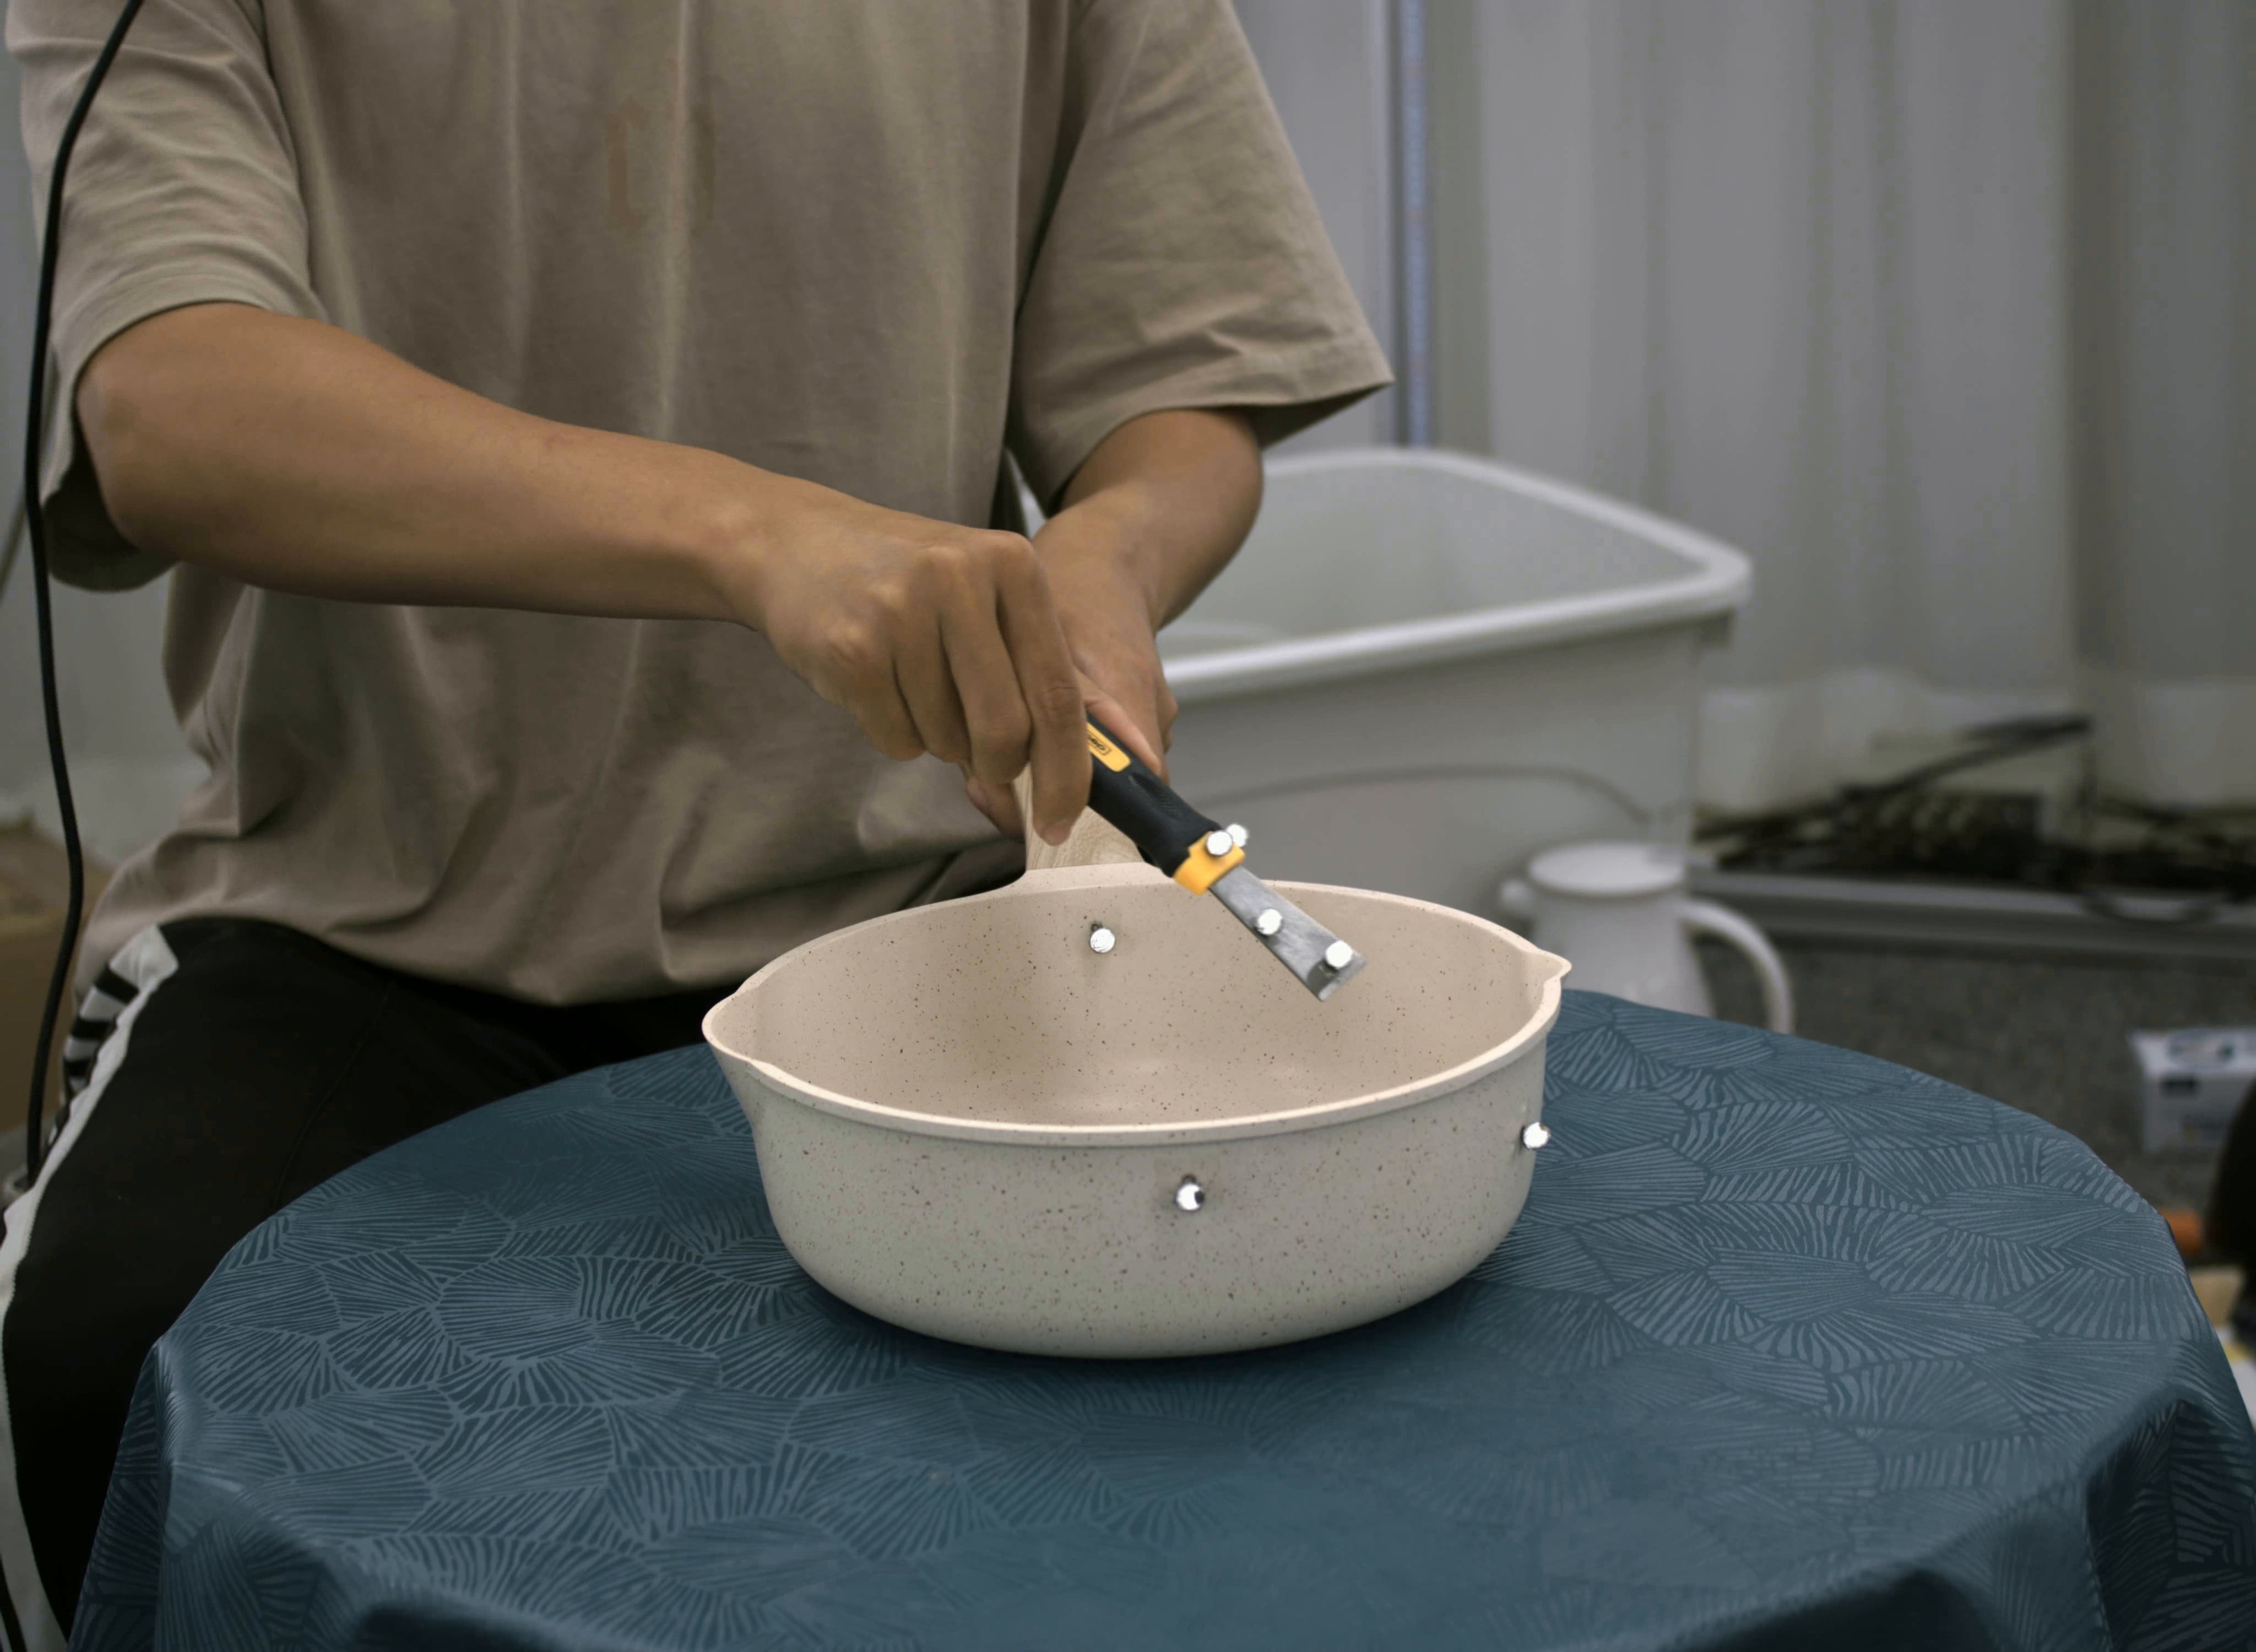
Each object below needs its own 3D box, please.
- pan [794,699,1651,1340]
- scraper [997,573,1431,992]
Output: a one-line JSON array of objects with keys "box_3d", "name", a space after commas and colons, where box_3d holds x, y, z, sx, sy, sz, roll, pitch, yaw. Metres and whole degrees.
[{"box_3d": [0.020, 0.055, 1.740, 0.262, 0.101, 0.438, -7, 15, -6], "name": "pan"}, {"box_3d": [0.025, -0.014, 1.670, 0.015, 0.171, 0.039, -45, 2, 35], "name": "scraper"}]
